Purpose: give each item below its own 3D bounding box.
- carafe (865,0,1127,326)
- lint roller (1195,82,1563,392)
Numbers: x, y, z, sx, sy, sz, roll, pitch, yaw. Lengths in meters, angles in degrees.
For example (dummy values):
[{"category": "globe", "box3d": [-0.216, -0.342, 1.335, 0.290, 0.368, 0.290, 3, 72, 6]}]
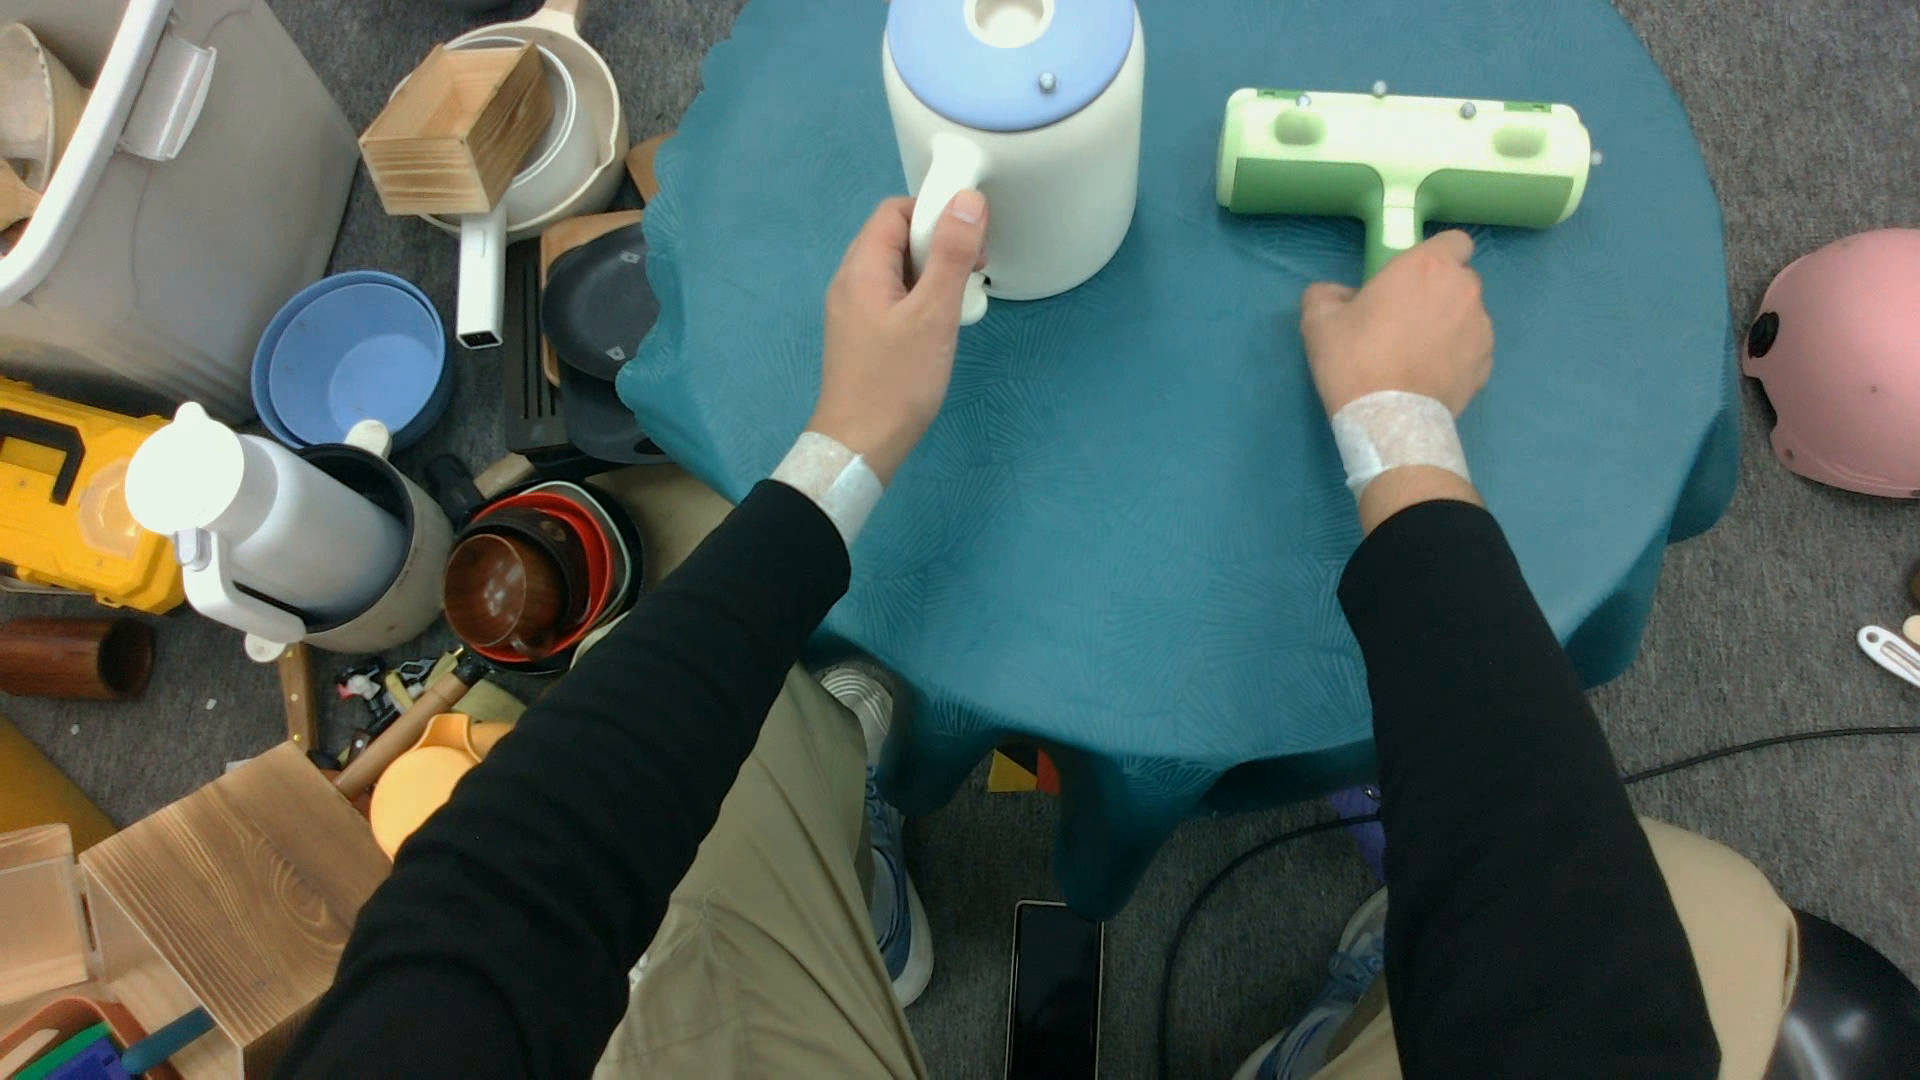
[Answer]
[{"category": "carafe", "box3d": [0.013, -0.209, 0.731, 0.132, 0.182, 0.191, 20, 78, 10]}, {"category": "lint roller", "box3d": [0.227, -0.175, 0.748, 0.198, 0.082, 0.184, 4, 63, 6]}]
